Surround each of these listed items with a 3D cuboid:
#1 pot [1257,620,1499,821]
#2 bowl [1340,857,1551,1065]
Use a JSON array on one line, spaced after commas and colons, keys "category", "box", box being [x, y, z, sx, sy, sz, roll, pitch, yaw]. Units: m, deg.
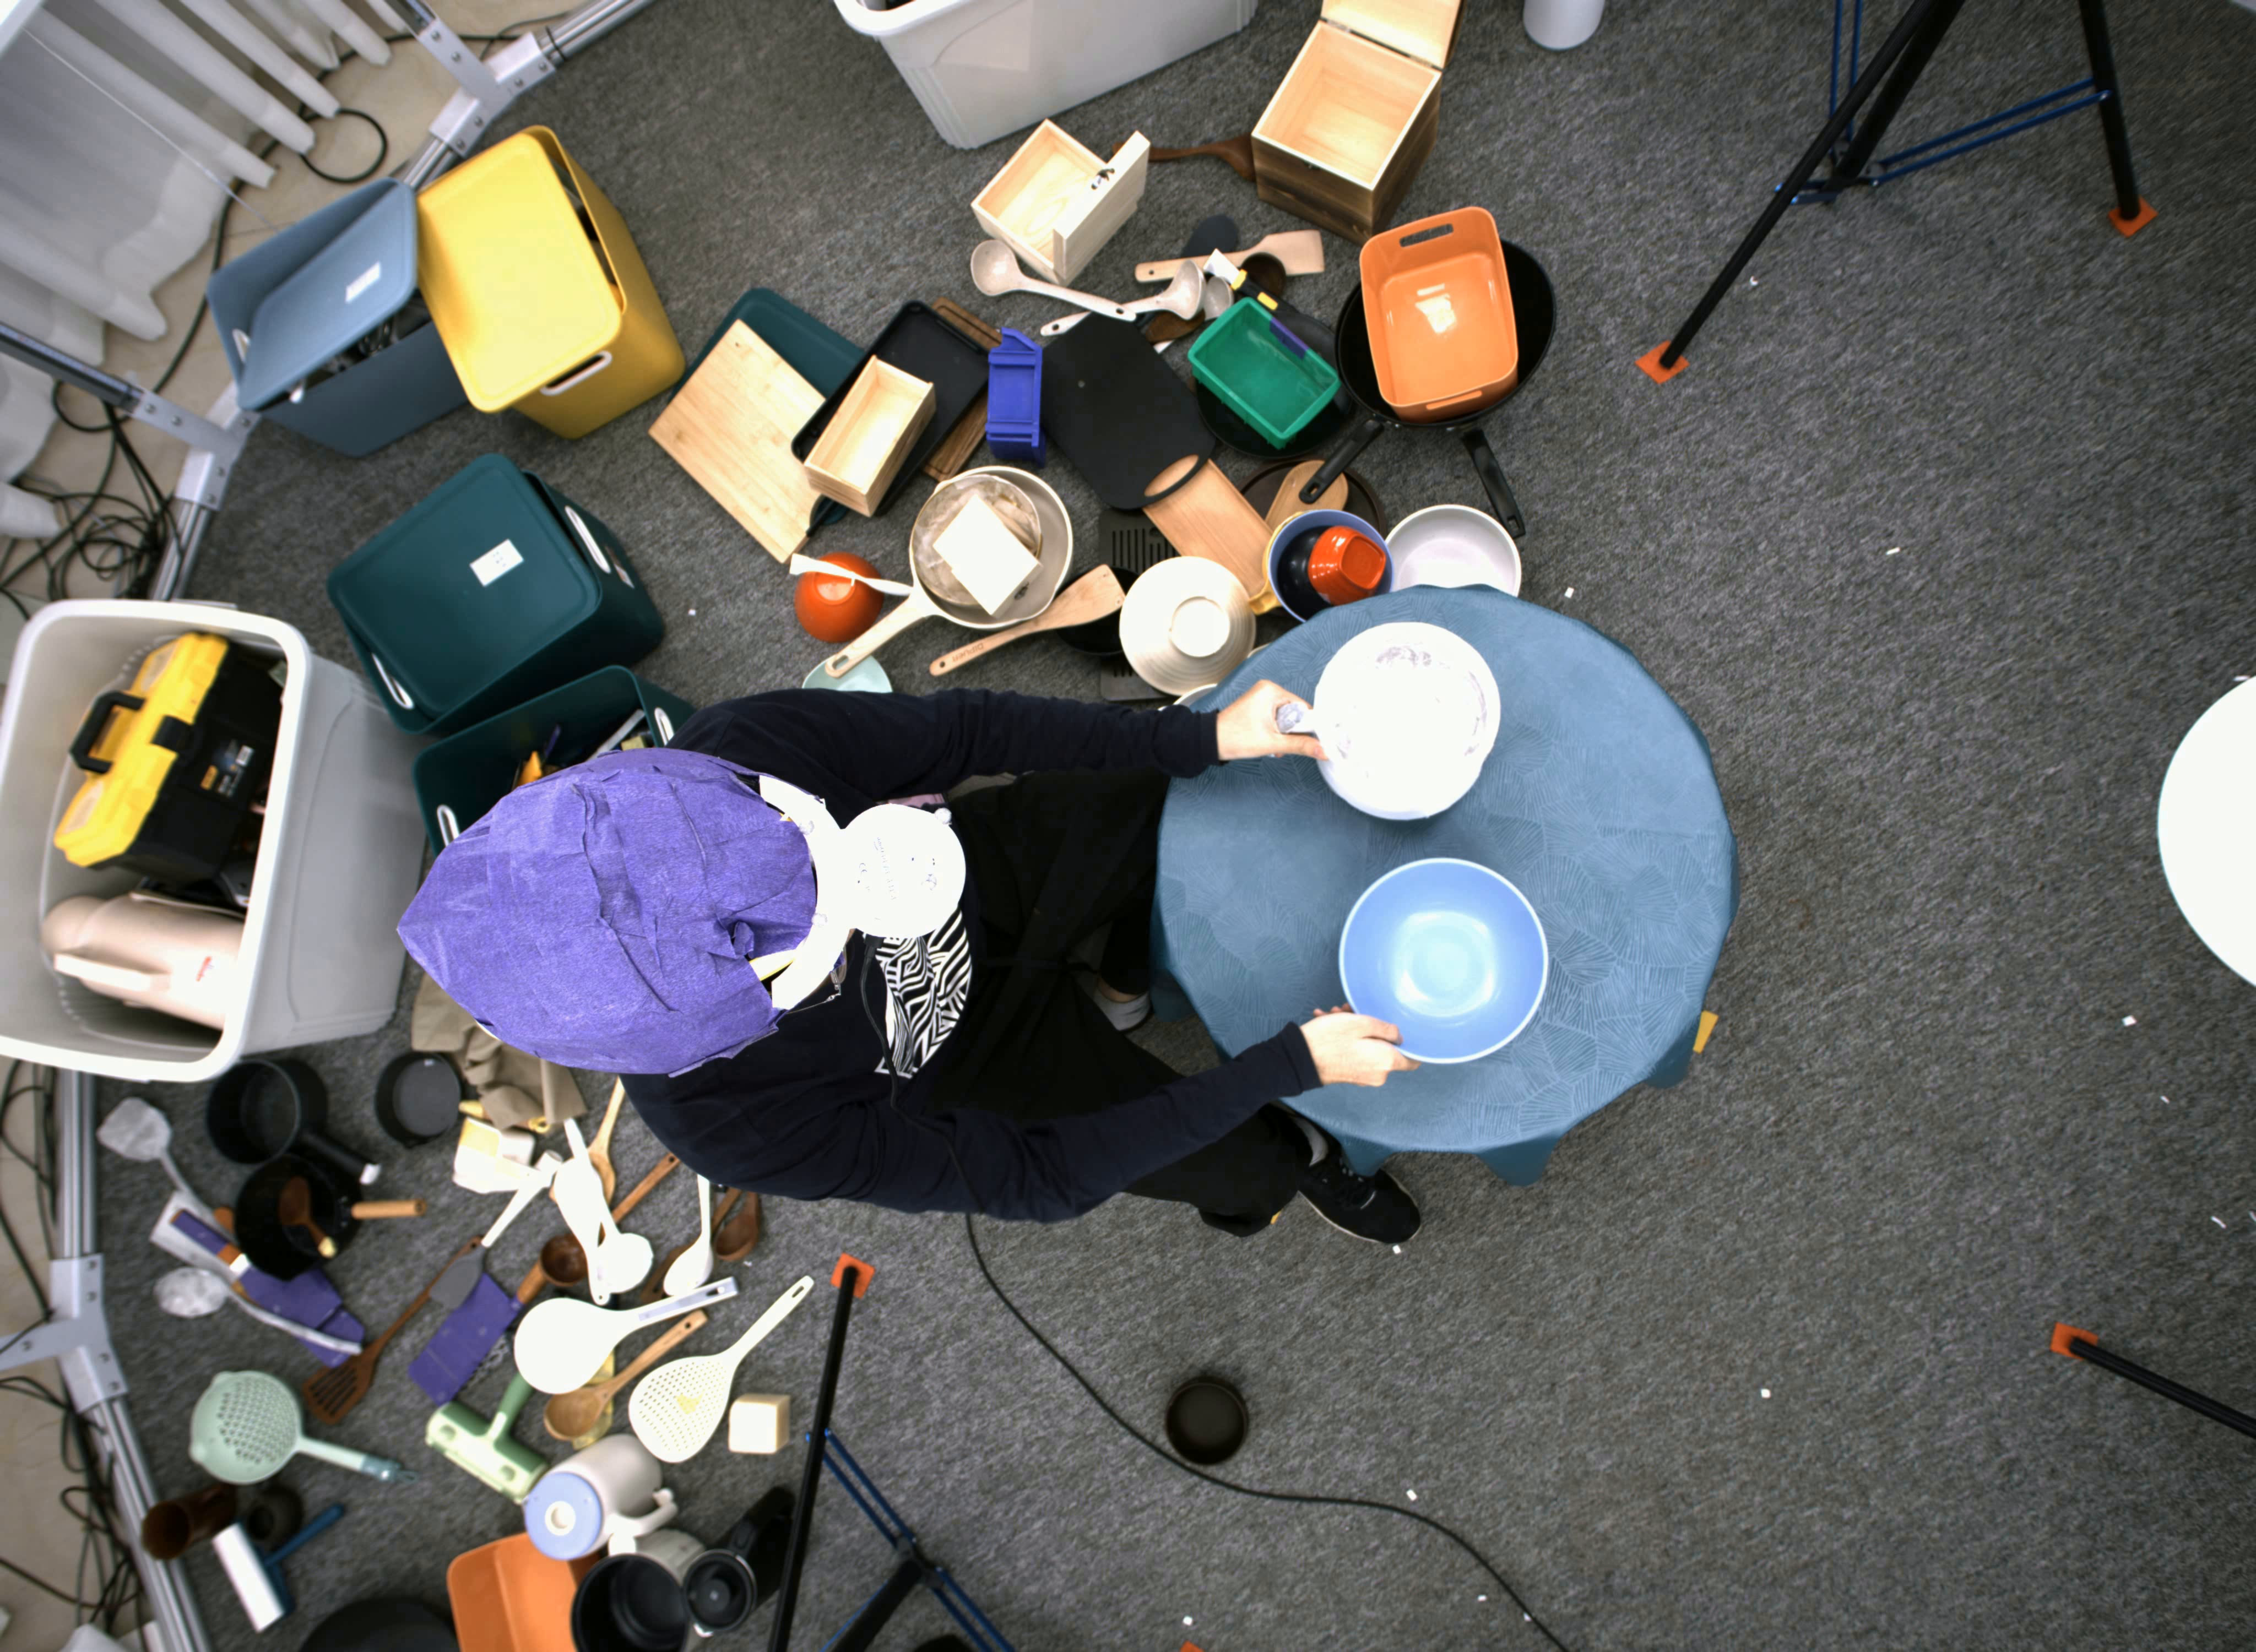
[{"category": "pot", "box": [0.246, -0.100, 1.380, 0.234, 0.138, 0.176, -2, 78, 7]}, {"category": "bowl", "box": [0.307, 0.131, 1.351, 0.197, 0.095, 0.195, -1, 85, 10]}]
